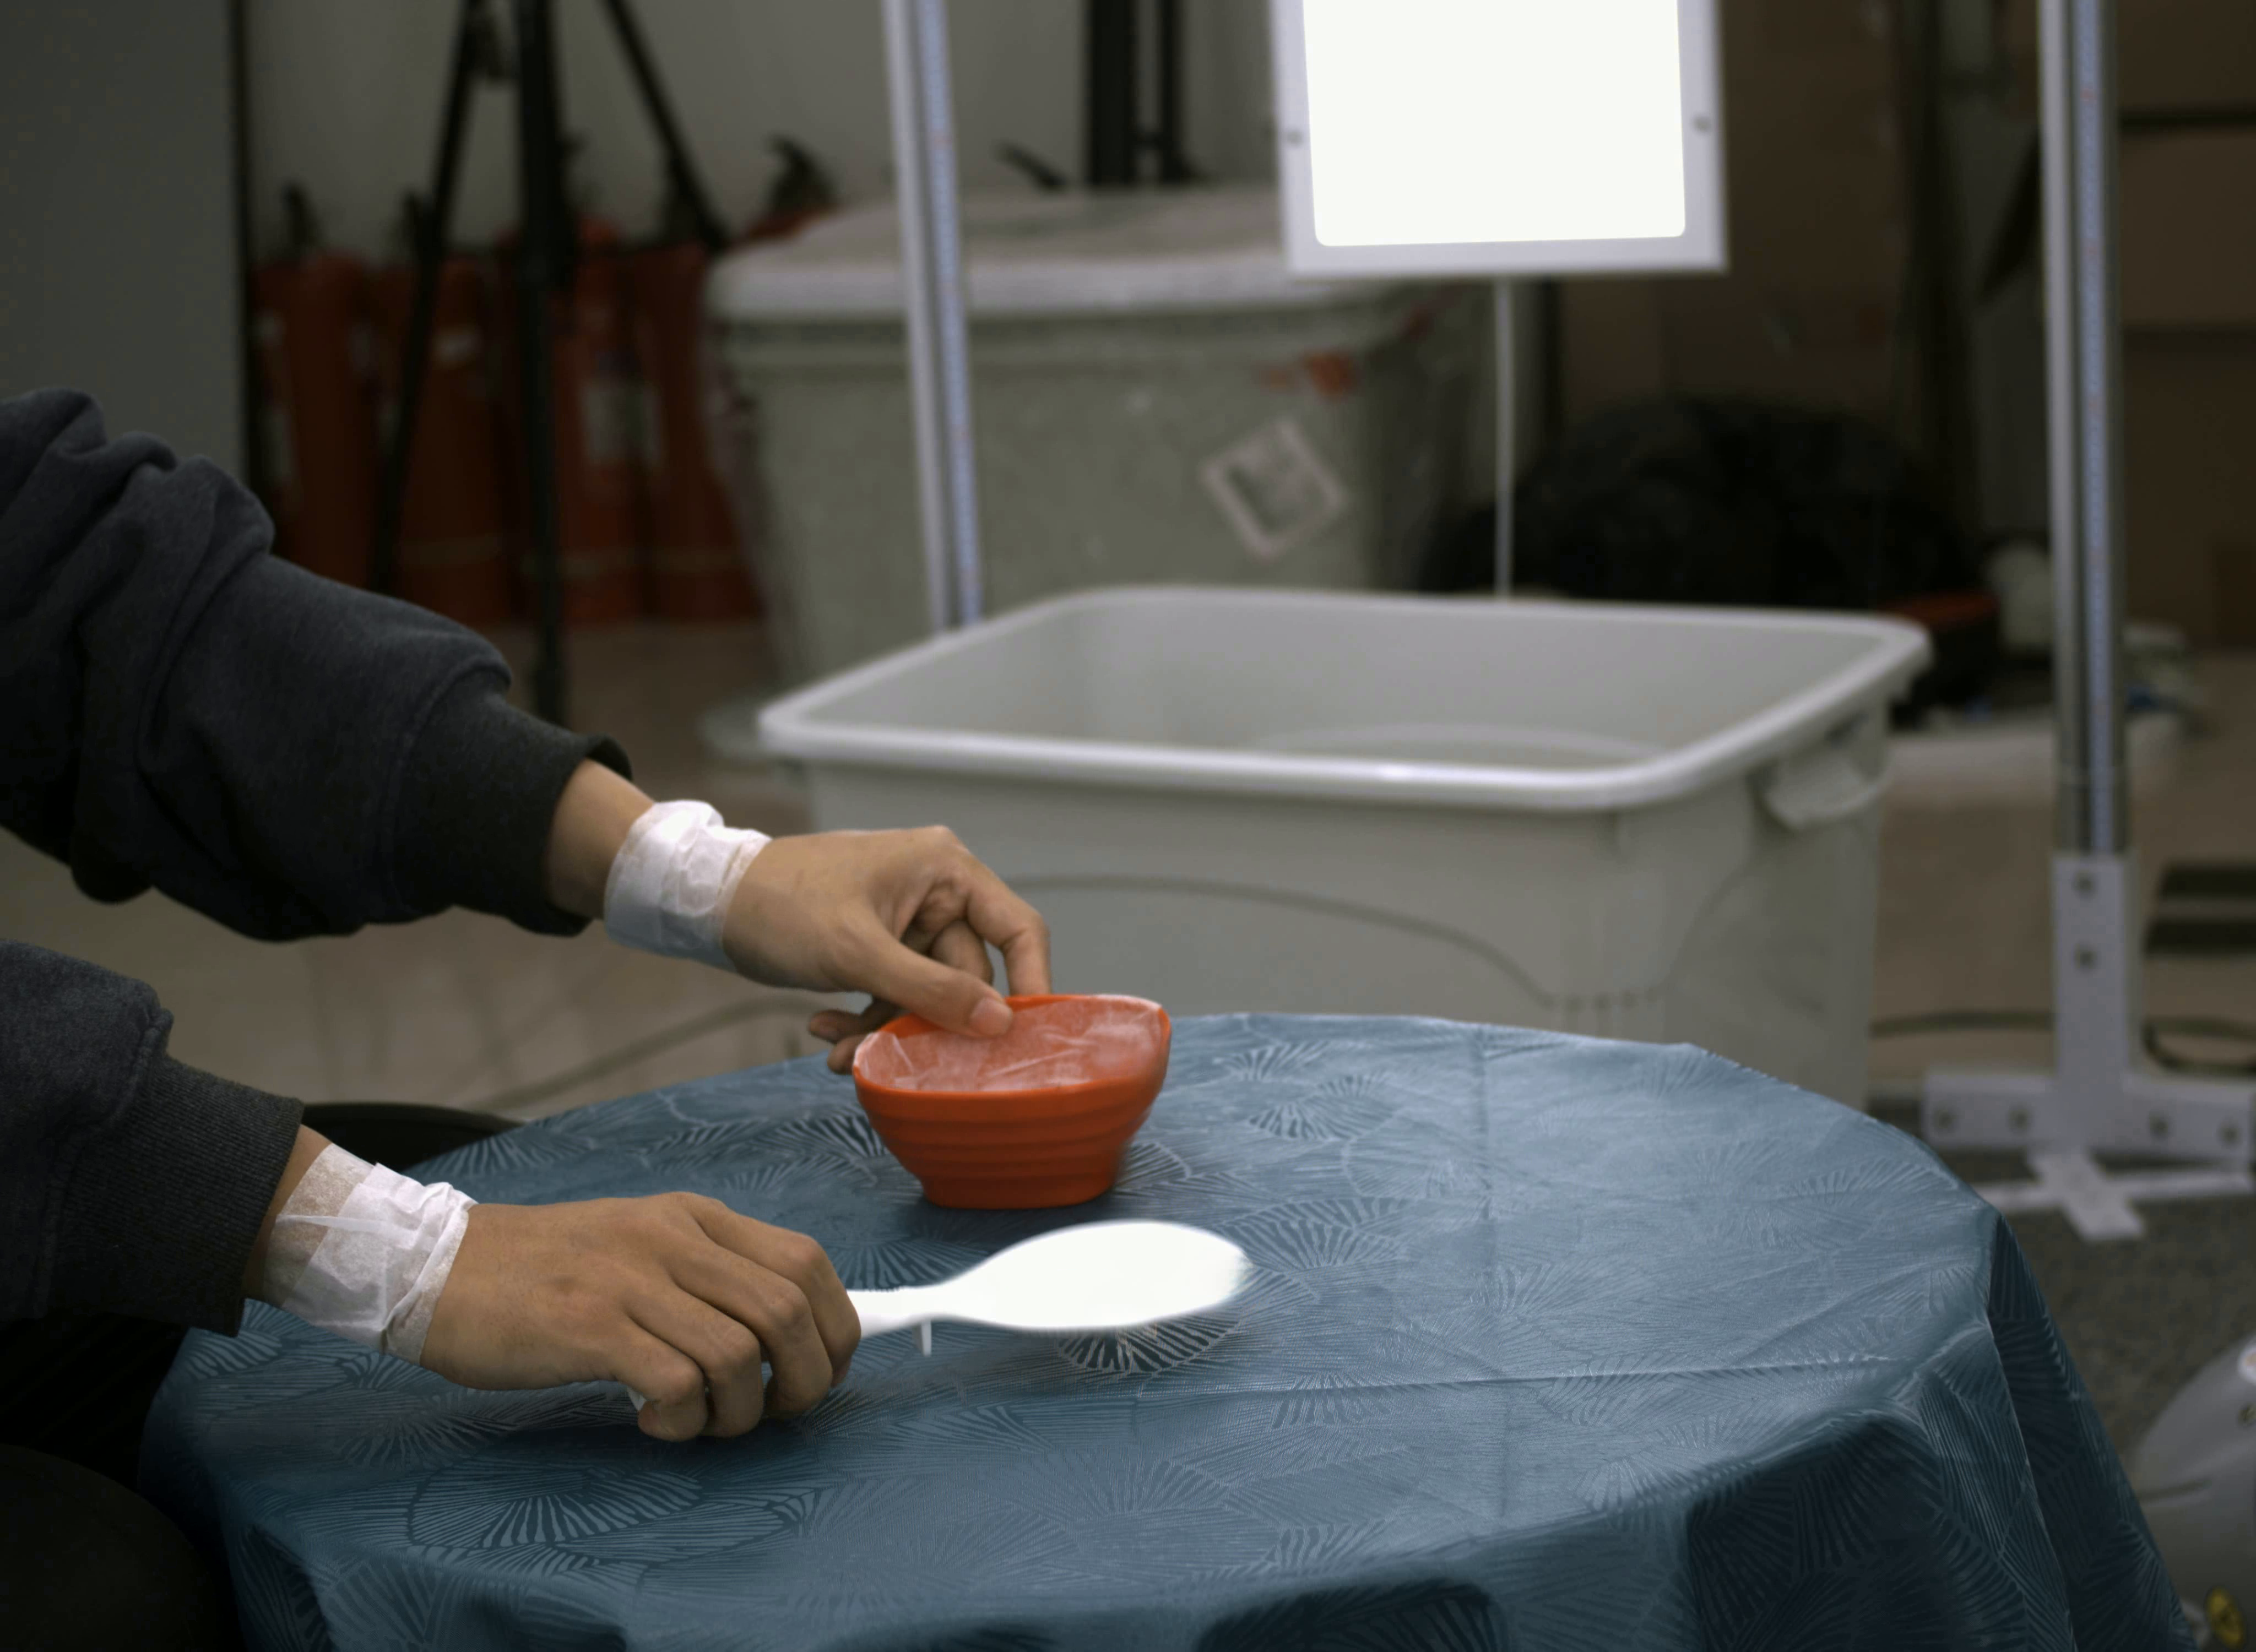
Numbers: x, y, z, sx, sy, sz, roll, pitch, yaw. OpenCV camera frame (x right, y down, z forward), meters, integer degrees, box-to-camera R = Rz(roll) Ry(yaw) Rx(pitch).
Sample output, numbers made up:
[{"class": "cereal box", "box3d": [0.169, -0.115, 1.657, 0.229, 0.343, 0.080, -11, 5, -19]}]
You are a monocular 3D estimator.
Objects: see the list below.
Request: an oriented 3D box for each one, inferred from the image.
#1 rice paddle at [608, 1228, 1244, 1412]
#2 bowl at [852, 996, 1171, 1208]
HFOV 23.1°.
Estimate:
[{"class": "rice paddle", "box3d": [-0.060, 0.150, 1.720, 0.202, 0.029, 0.069, -8, 23, -16]}, {"class": "bowl", "box3d": [-0.039, 0.098, 1.914, 0.118, 0.051, 0.119, -5, 15, 0]}]
